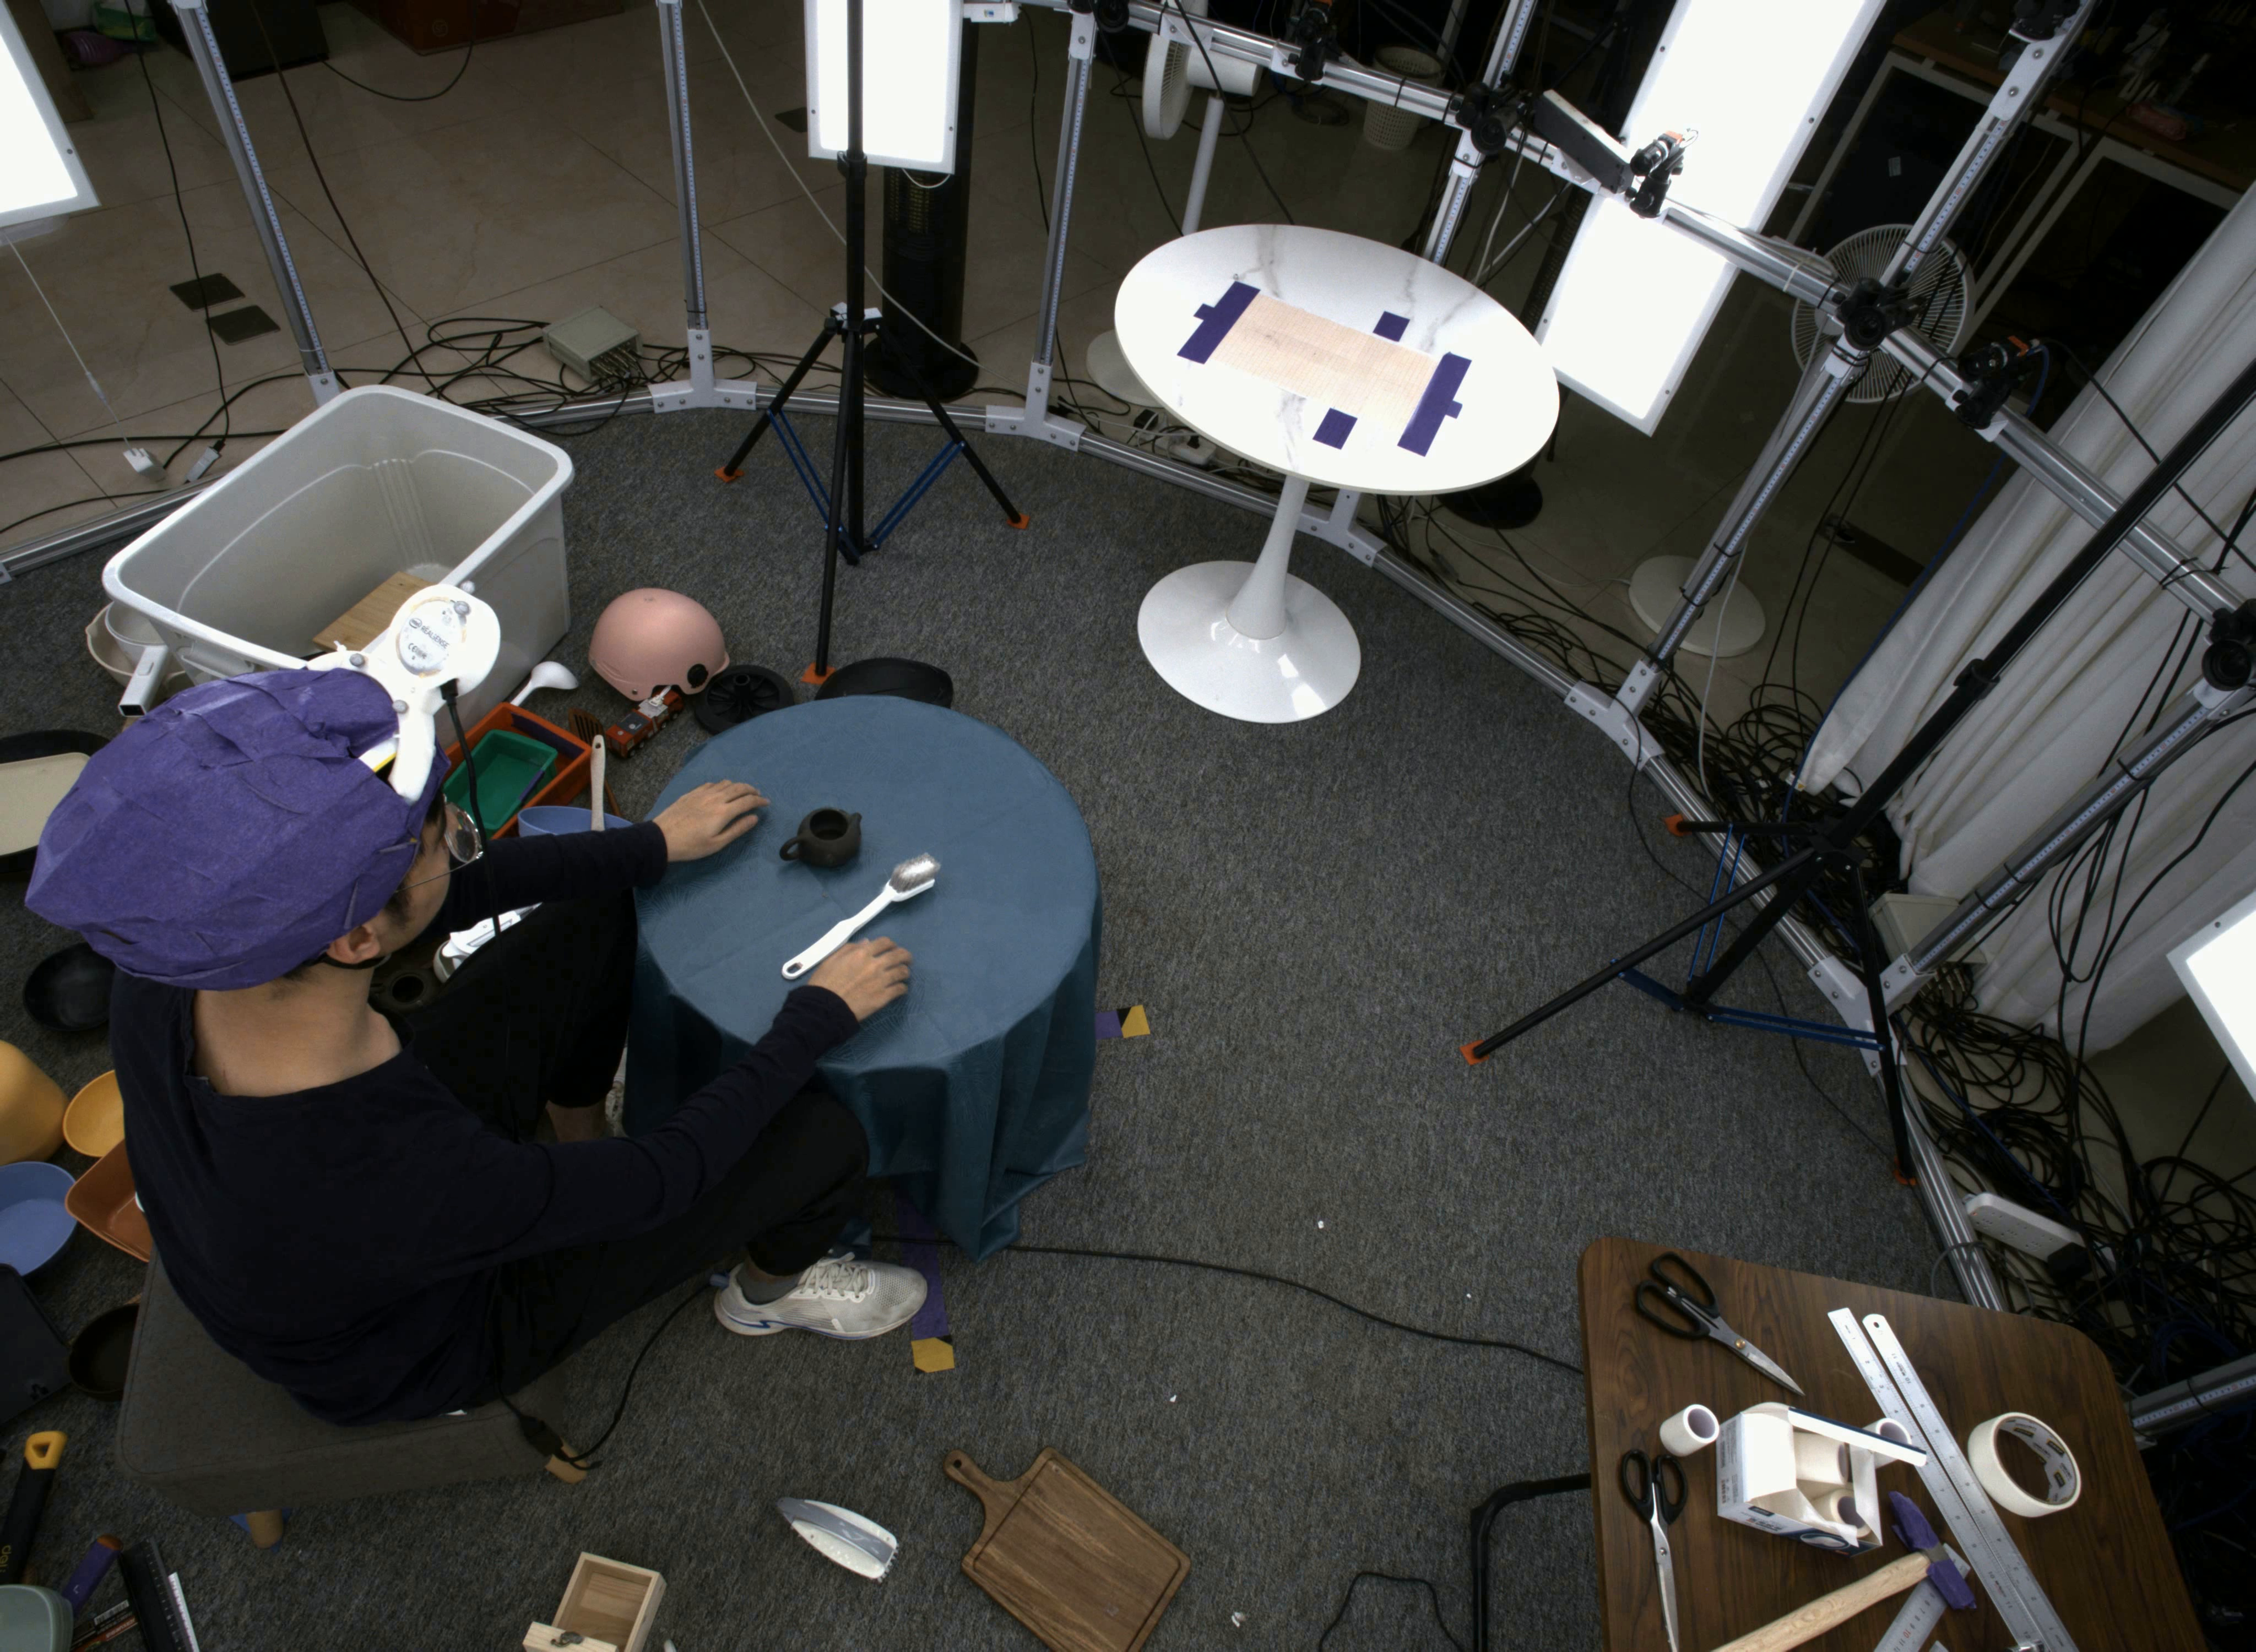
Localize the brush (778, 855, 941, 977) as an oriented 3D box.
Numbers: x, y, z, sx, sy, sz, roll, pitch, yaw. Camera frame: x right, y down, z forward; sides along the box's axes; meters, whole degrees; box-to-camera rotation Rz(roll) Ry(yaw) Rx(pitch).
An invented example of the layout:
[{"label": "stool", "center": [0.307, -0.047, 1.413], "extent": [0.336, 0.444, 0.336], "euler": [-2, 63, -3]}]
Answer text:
[{"label": "brush", "center": [-0.337, 0.108, 1.636], "extent": [0.244, 0.051, 0.034], "euler": [-34, 70, -32]}]

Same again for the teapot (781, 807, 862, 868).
[{"label": "teapot", "center": [-0.398, 0.017, 1.687], "extent": [0.114, 0.054, 0.081], "euler": [-23, 63, -28]}]
